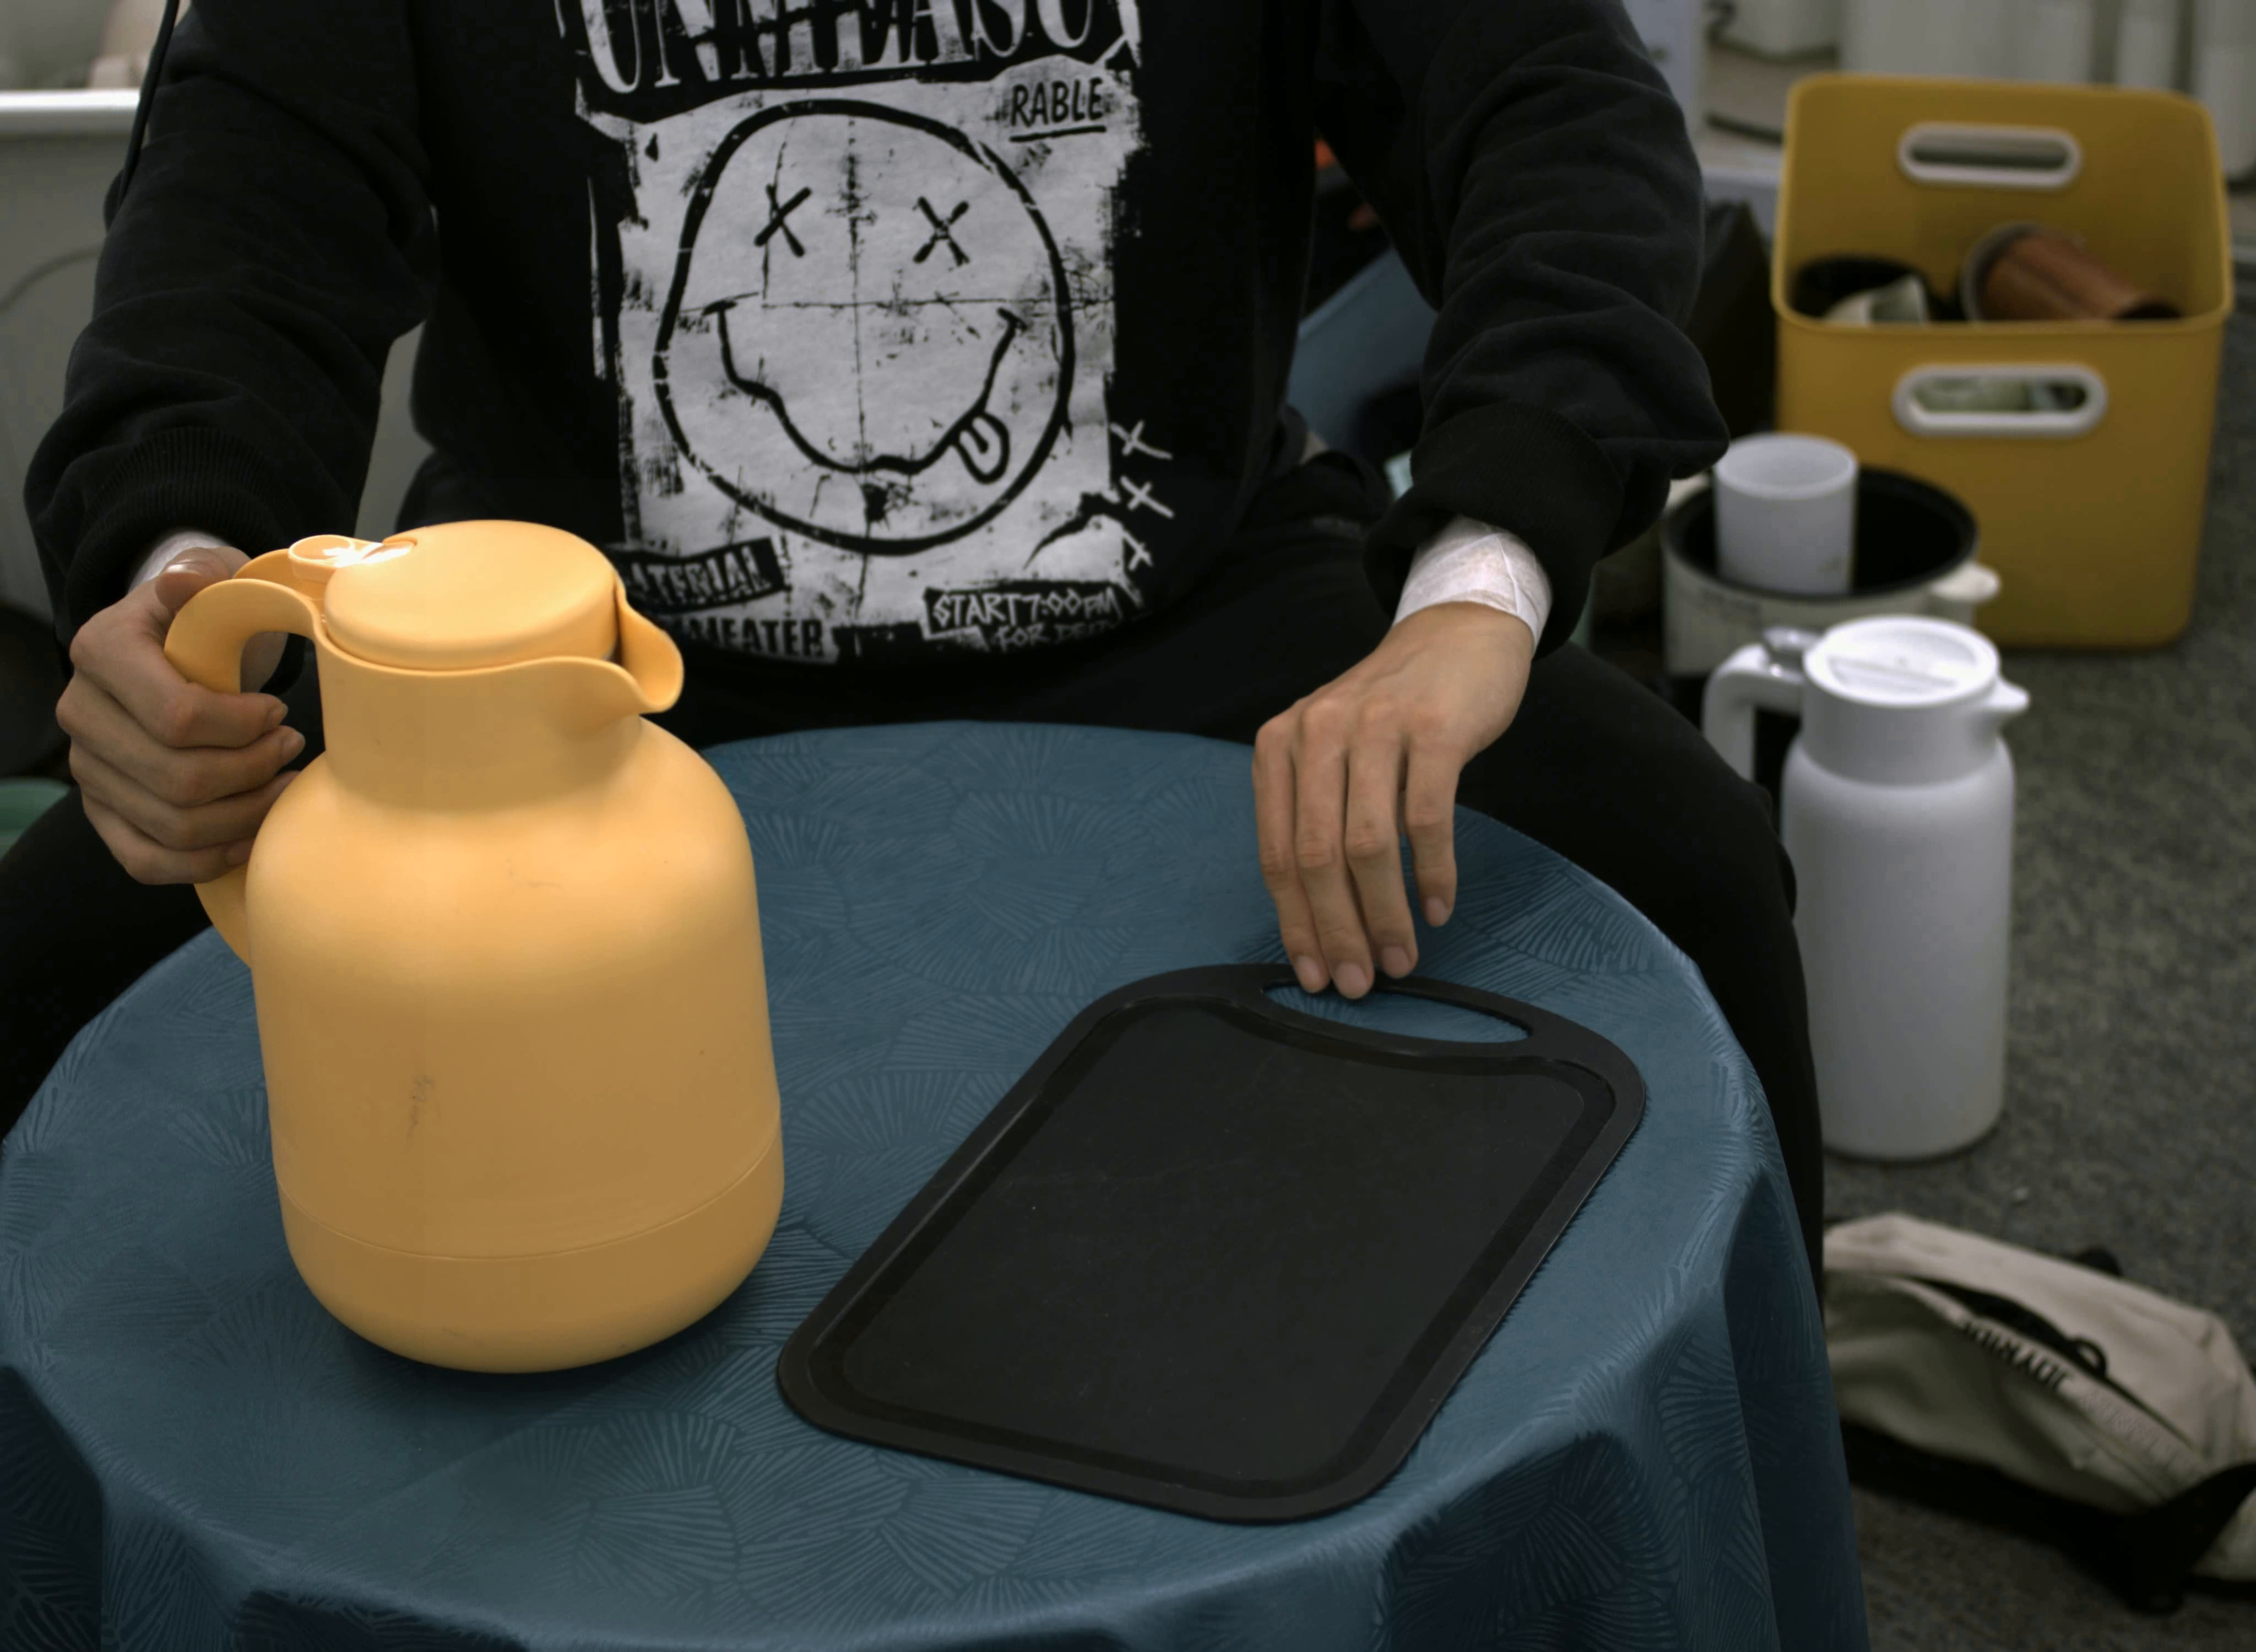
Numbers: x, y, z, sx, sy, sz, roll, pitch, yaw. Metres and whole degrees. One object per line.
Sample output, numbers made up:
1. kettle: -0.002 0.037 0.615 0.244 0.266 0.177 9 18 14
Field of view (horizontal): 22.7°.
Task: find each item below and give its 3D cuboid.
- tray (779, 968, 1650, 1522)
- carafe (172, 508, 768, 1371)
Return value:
1. tray: 0.036 0.125 1.841 0.210 0.009 0.331 10 30 23
2. carafe: -0.213 0.026 1.781 0.201 0.258 0.166 16 29 30
